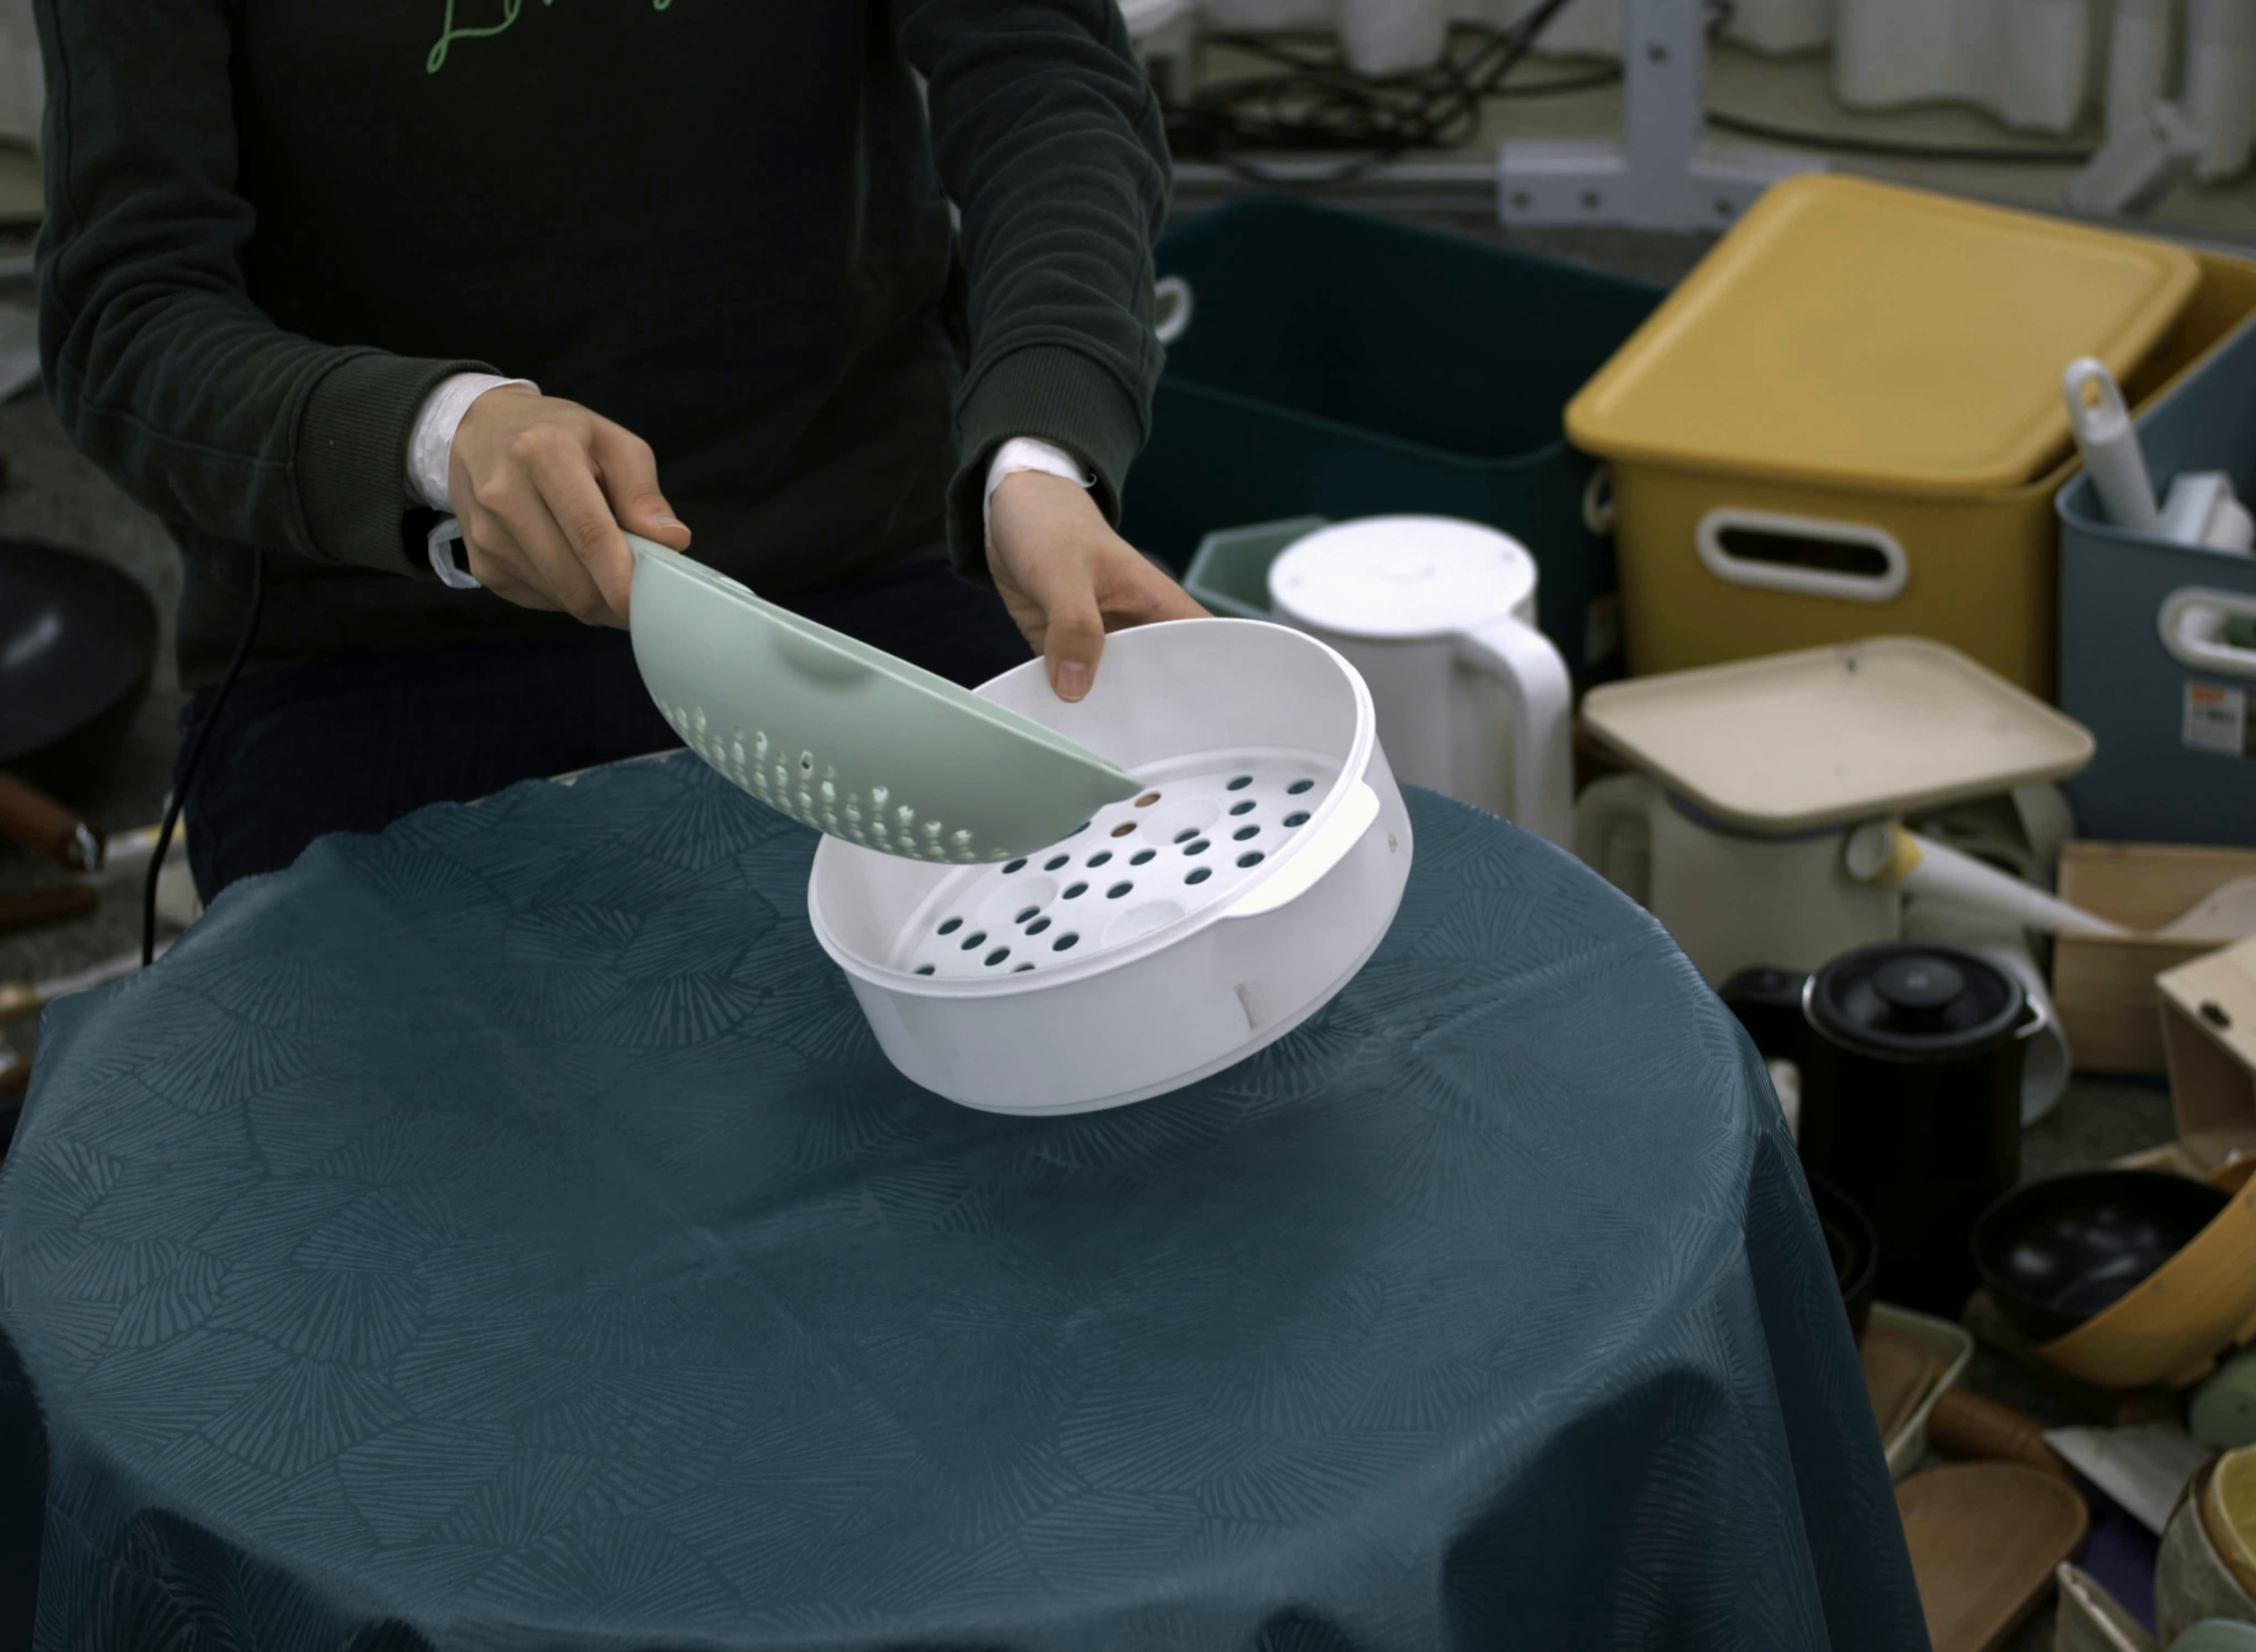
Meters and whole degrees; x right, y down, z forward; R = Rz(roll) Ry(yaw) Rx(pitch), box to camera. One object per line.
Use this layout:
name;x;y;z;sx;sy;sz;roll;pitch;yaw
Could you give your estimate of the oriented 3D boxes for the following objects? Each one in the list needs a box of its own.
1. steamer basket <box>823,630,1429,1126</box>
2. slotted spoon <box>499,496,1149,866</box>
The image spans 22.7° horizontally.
steamer basket;0.002;0.017;1.867;0.229;0.068;0.205;9;42;44
slotted spoon;-0.128;-0.065;1.854;0.169;0.075;0.361;25;9;-33
